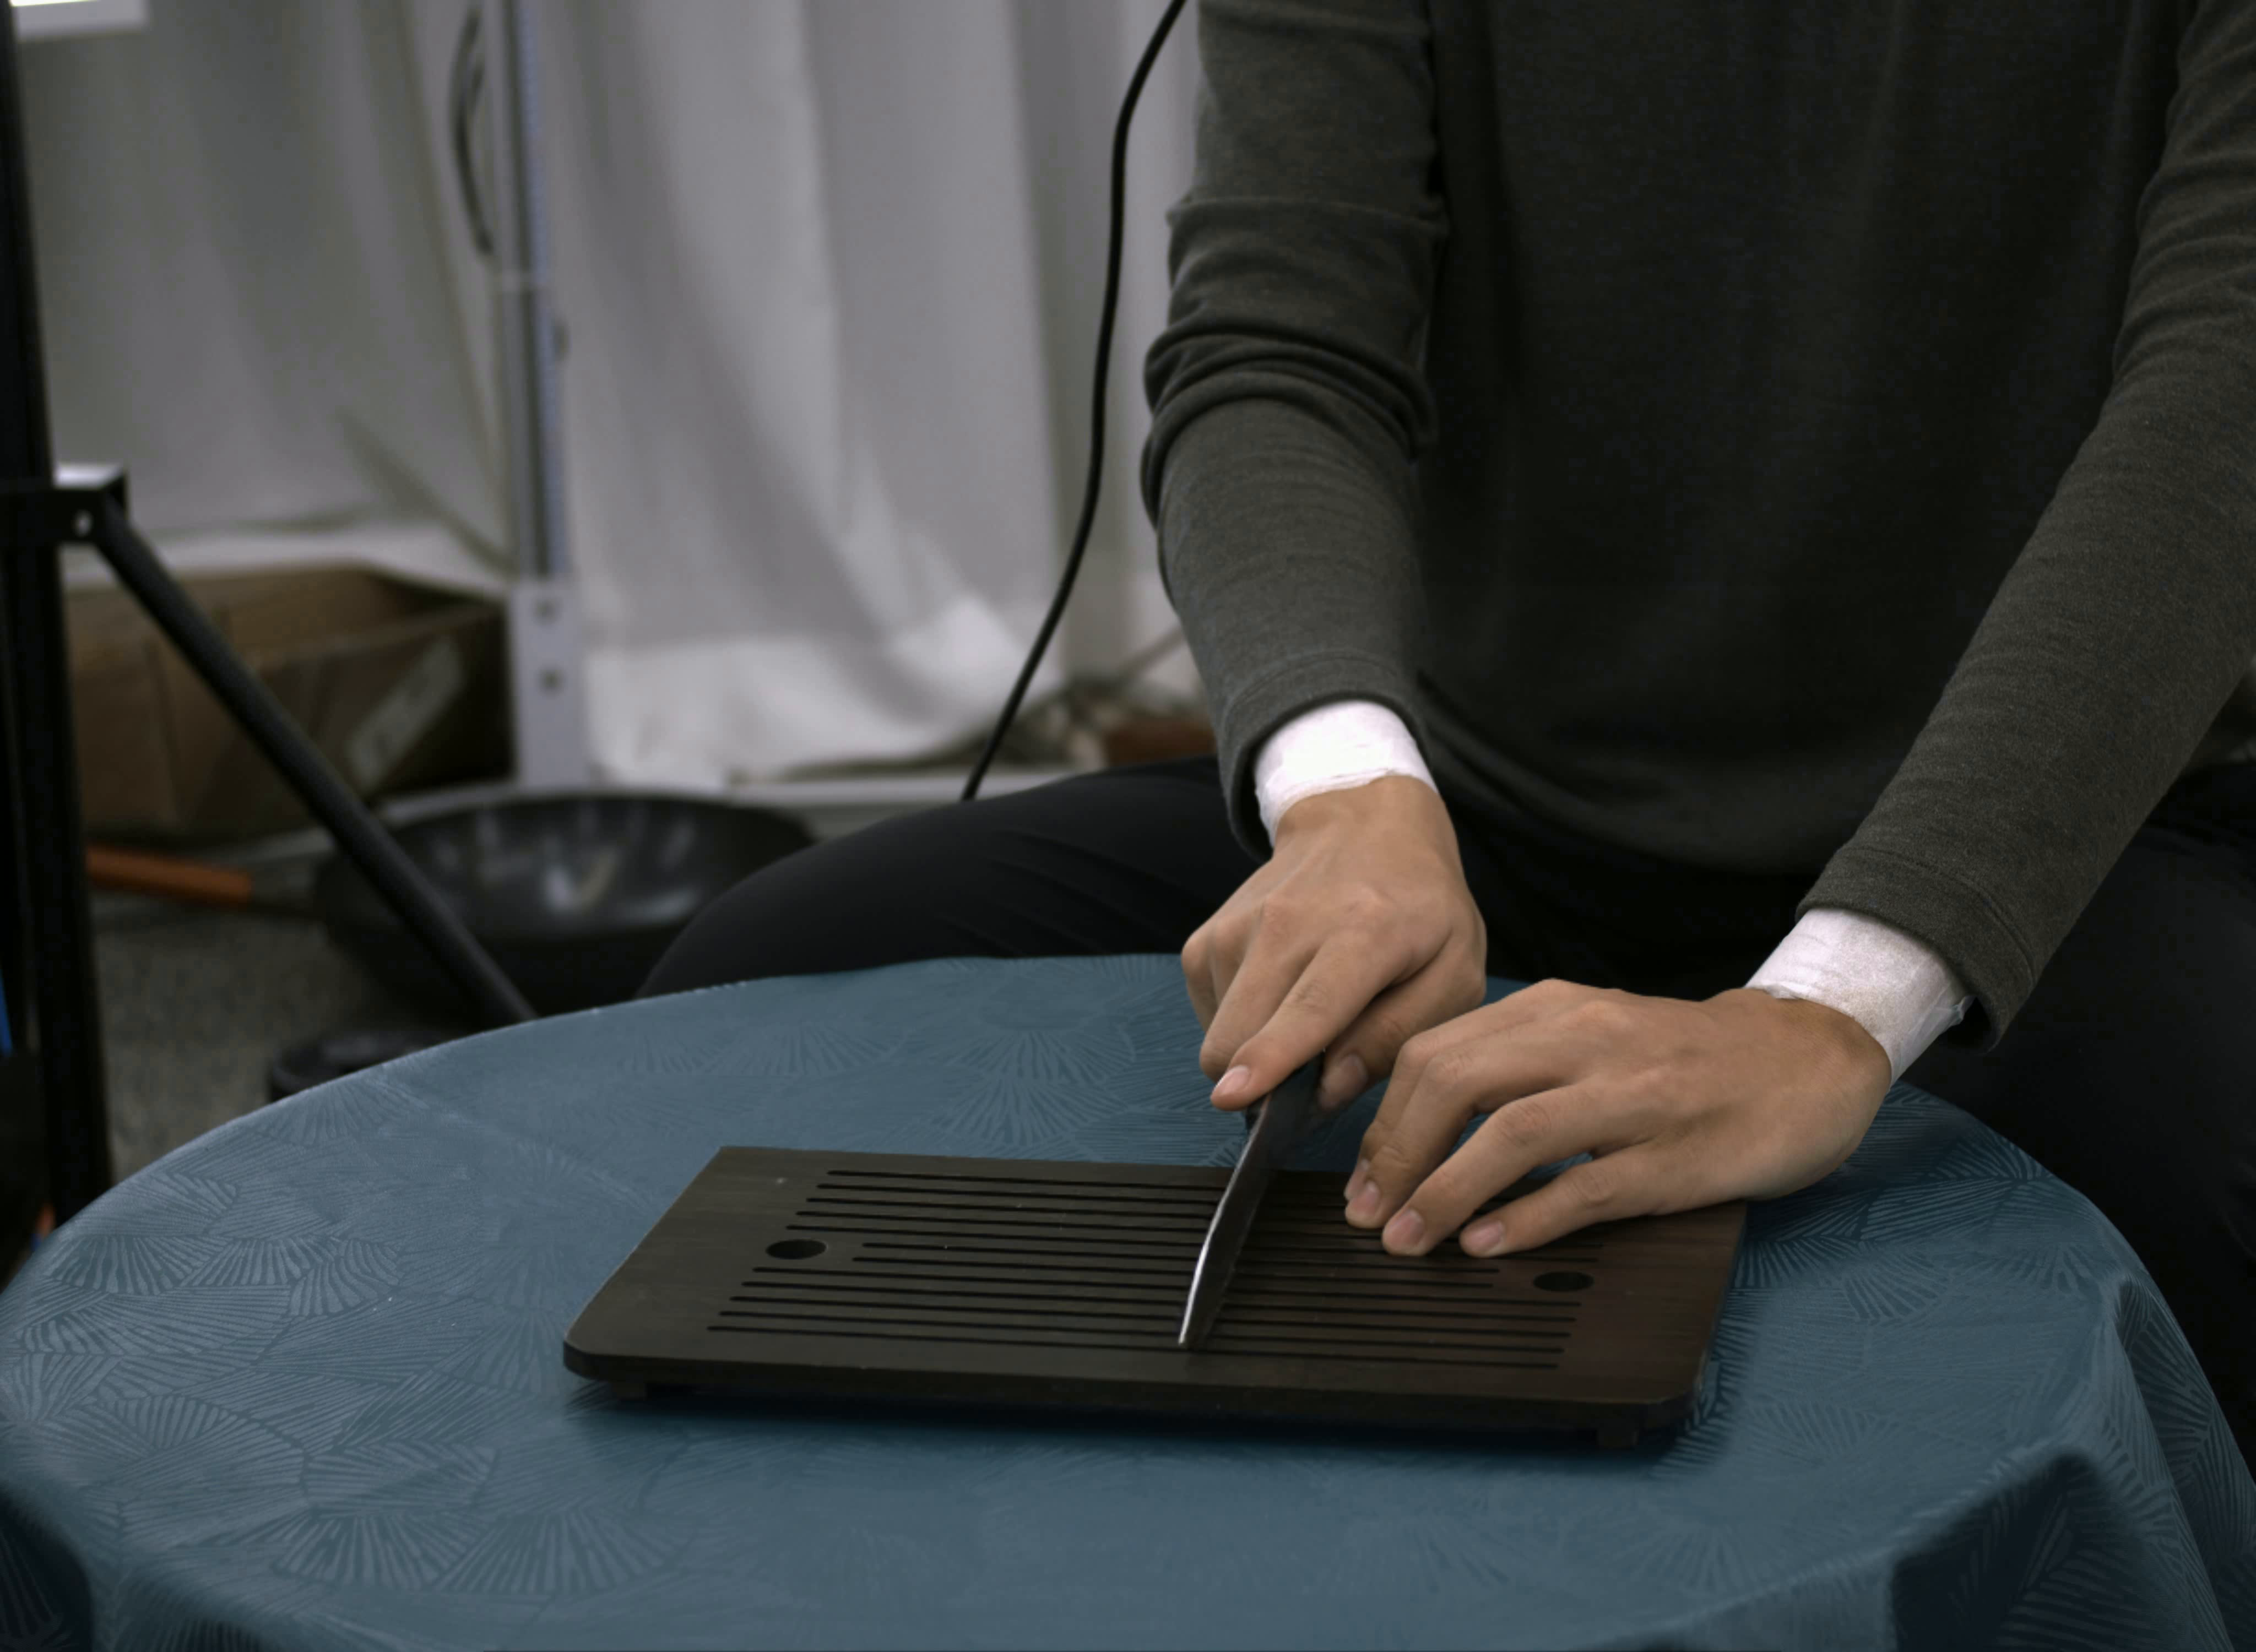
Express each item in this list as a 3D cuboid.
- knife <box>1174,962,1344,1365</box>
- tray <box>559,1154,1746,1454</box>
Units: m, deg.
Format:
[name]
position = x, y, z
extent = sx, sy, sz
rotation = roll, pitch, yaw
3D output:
[knife]
position = 0.036, 0.091, 1.487
extent = 0.016, 0.024, 0.237
rotation = 8, 24, 9
[tray]
position = 0.011, 0.129, 1.453
extent = 0.308, 0.018, 0.169
rotation = 2, 16, 13
